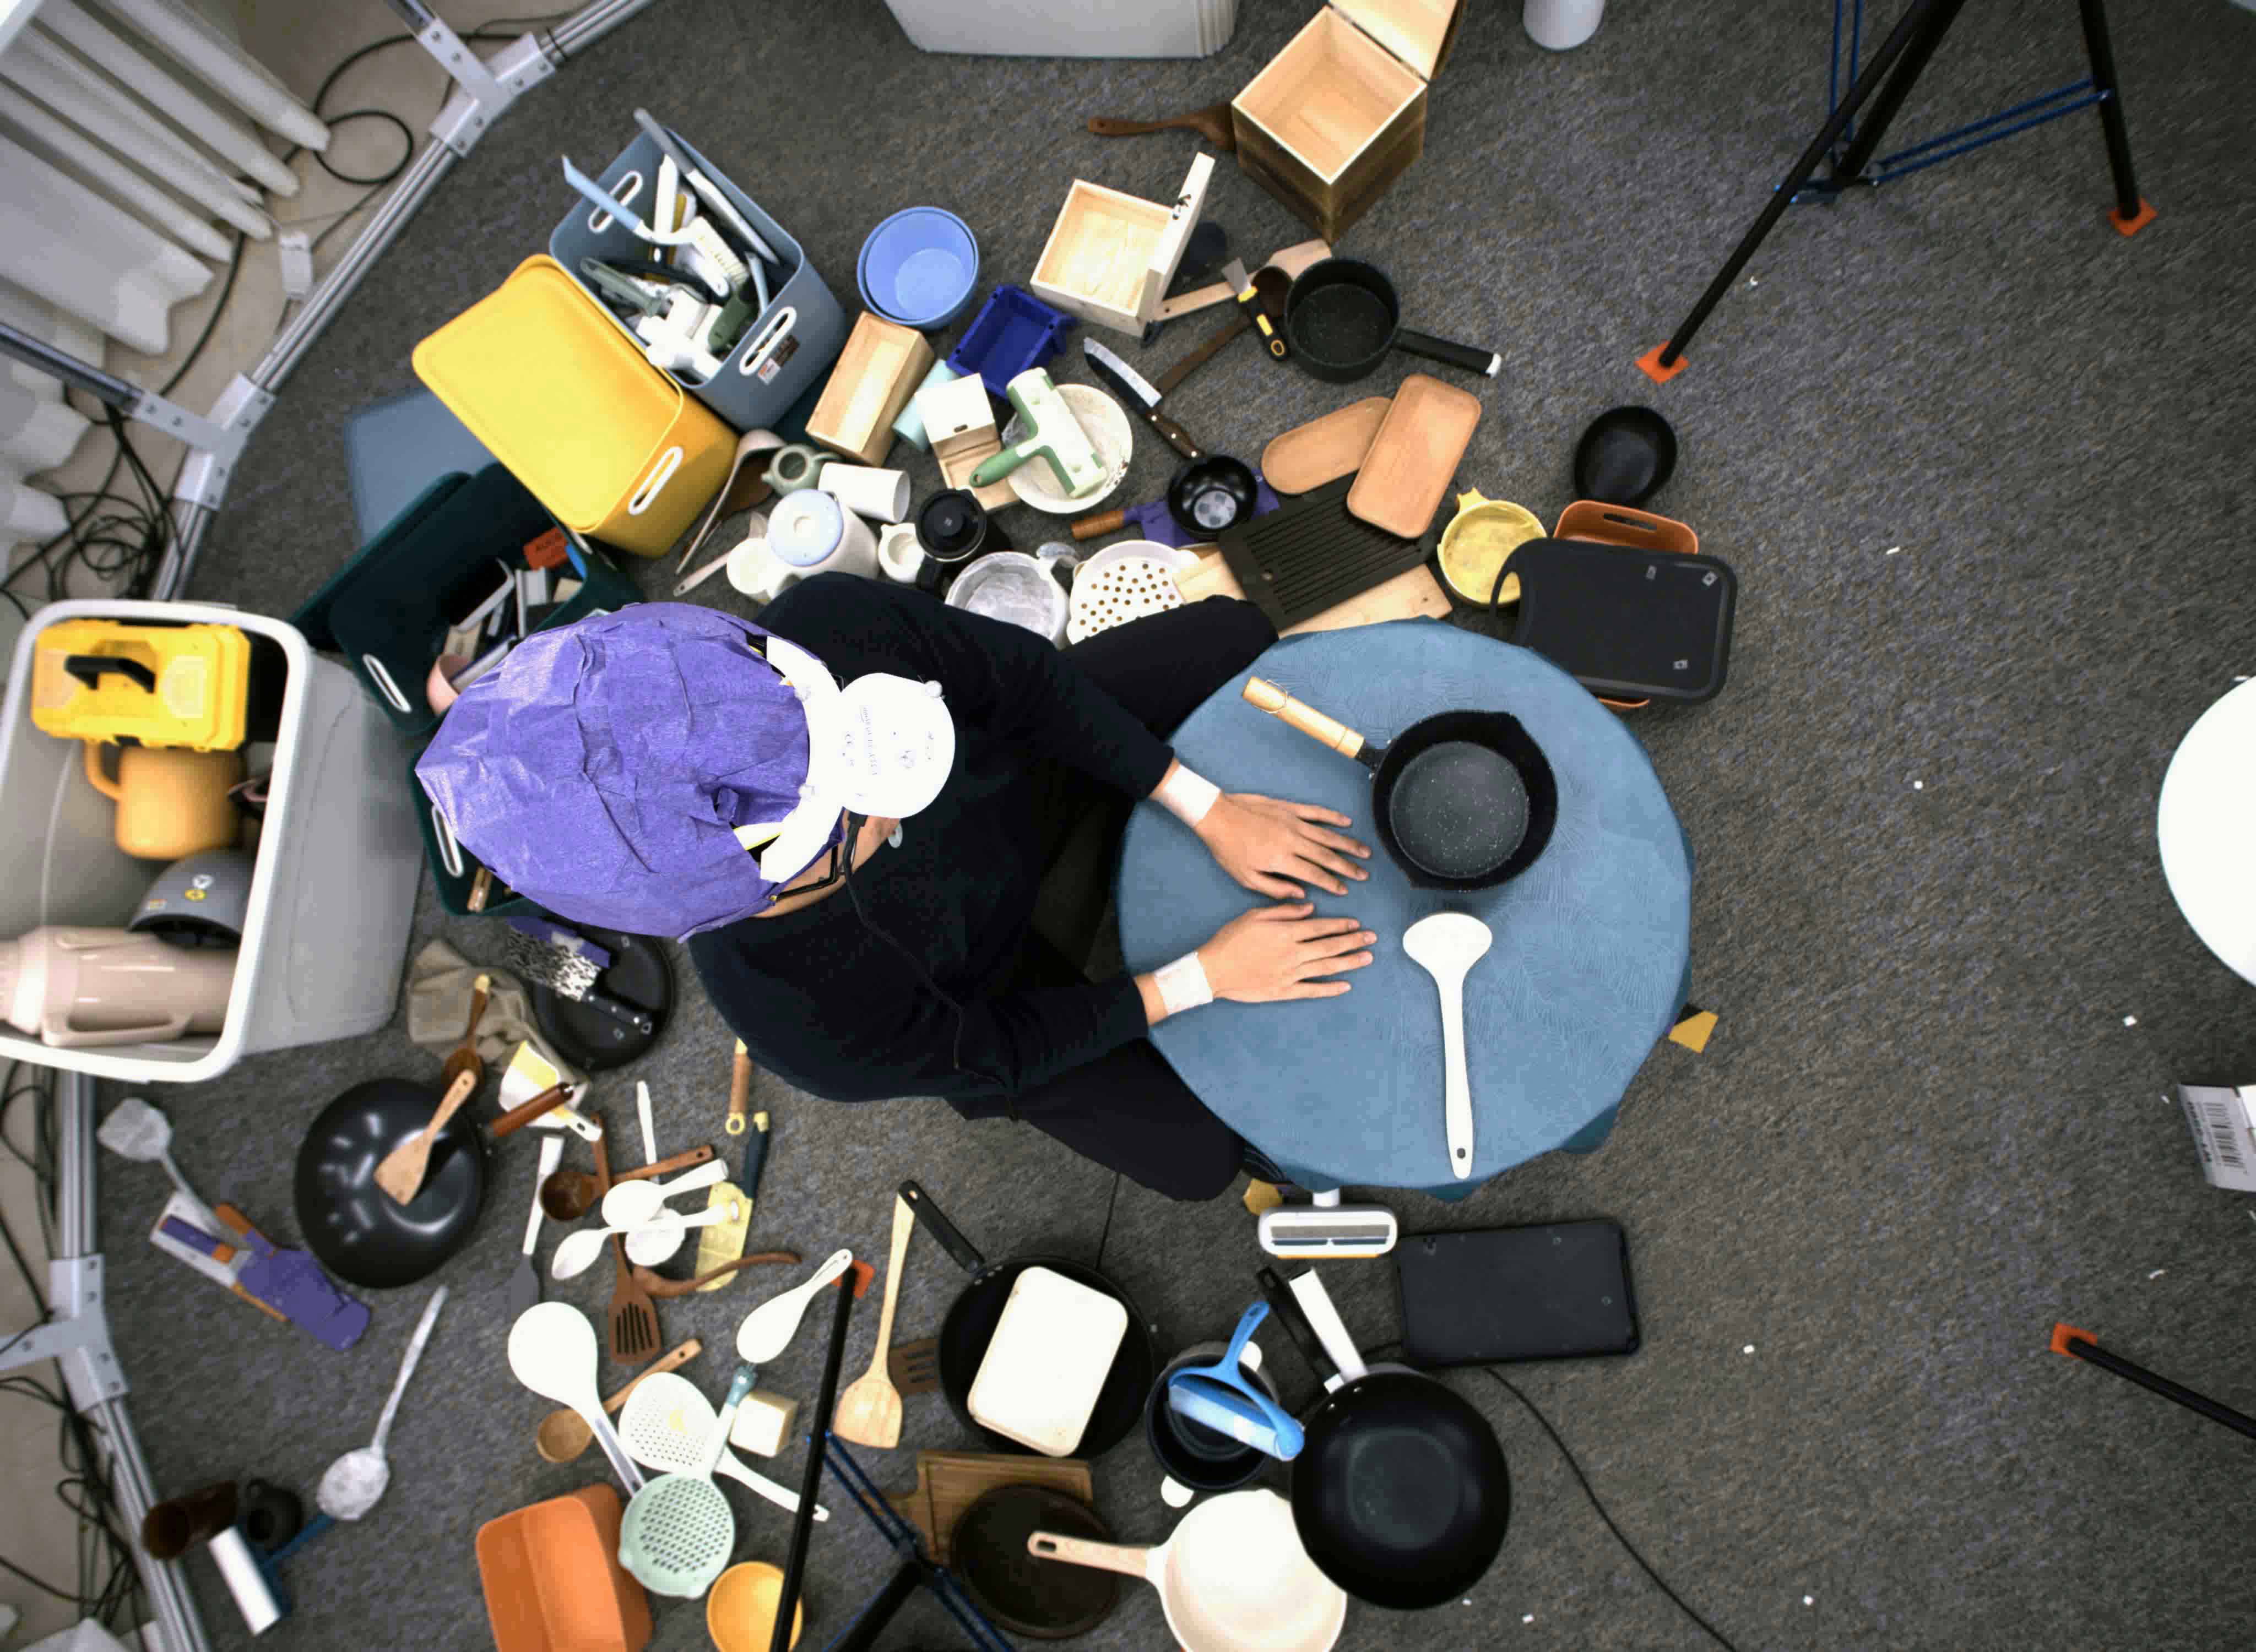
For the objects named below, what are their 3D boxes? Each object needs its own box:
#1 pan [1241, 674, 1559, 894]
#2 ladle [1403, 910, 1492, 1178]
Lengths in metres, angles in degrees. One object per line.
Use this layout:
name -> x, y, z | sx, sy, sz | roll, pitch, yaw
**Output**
pan -> 0.270, -0.060, 1.412 | 0.342, 0.108, 0.208 | 27, 93, 9
ladle -> 0.334, 0.221, 1.405 | 0.089, 0.069, 0.273 | -4, 86, 6
